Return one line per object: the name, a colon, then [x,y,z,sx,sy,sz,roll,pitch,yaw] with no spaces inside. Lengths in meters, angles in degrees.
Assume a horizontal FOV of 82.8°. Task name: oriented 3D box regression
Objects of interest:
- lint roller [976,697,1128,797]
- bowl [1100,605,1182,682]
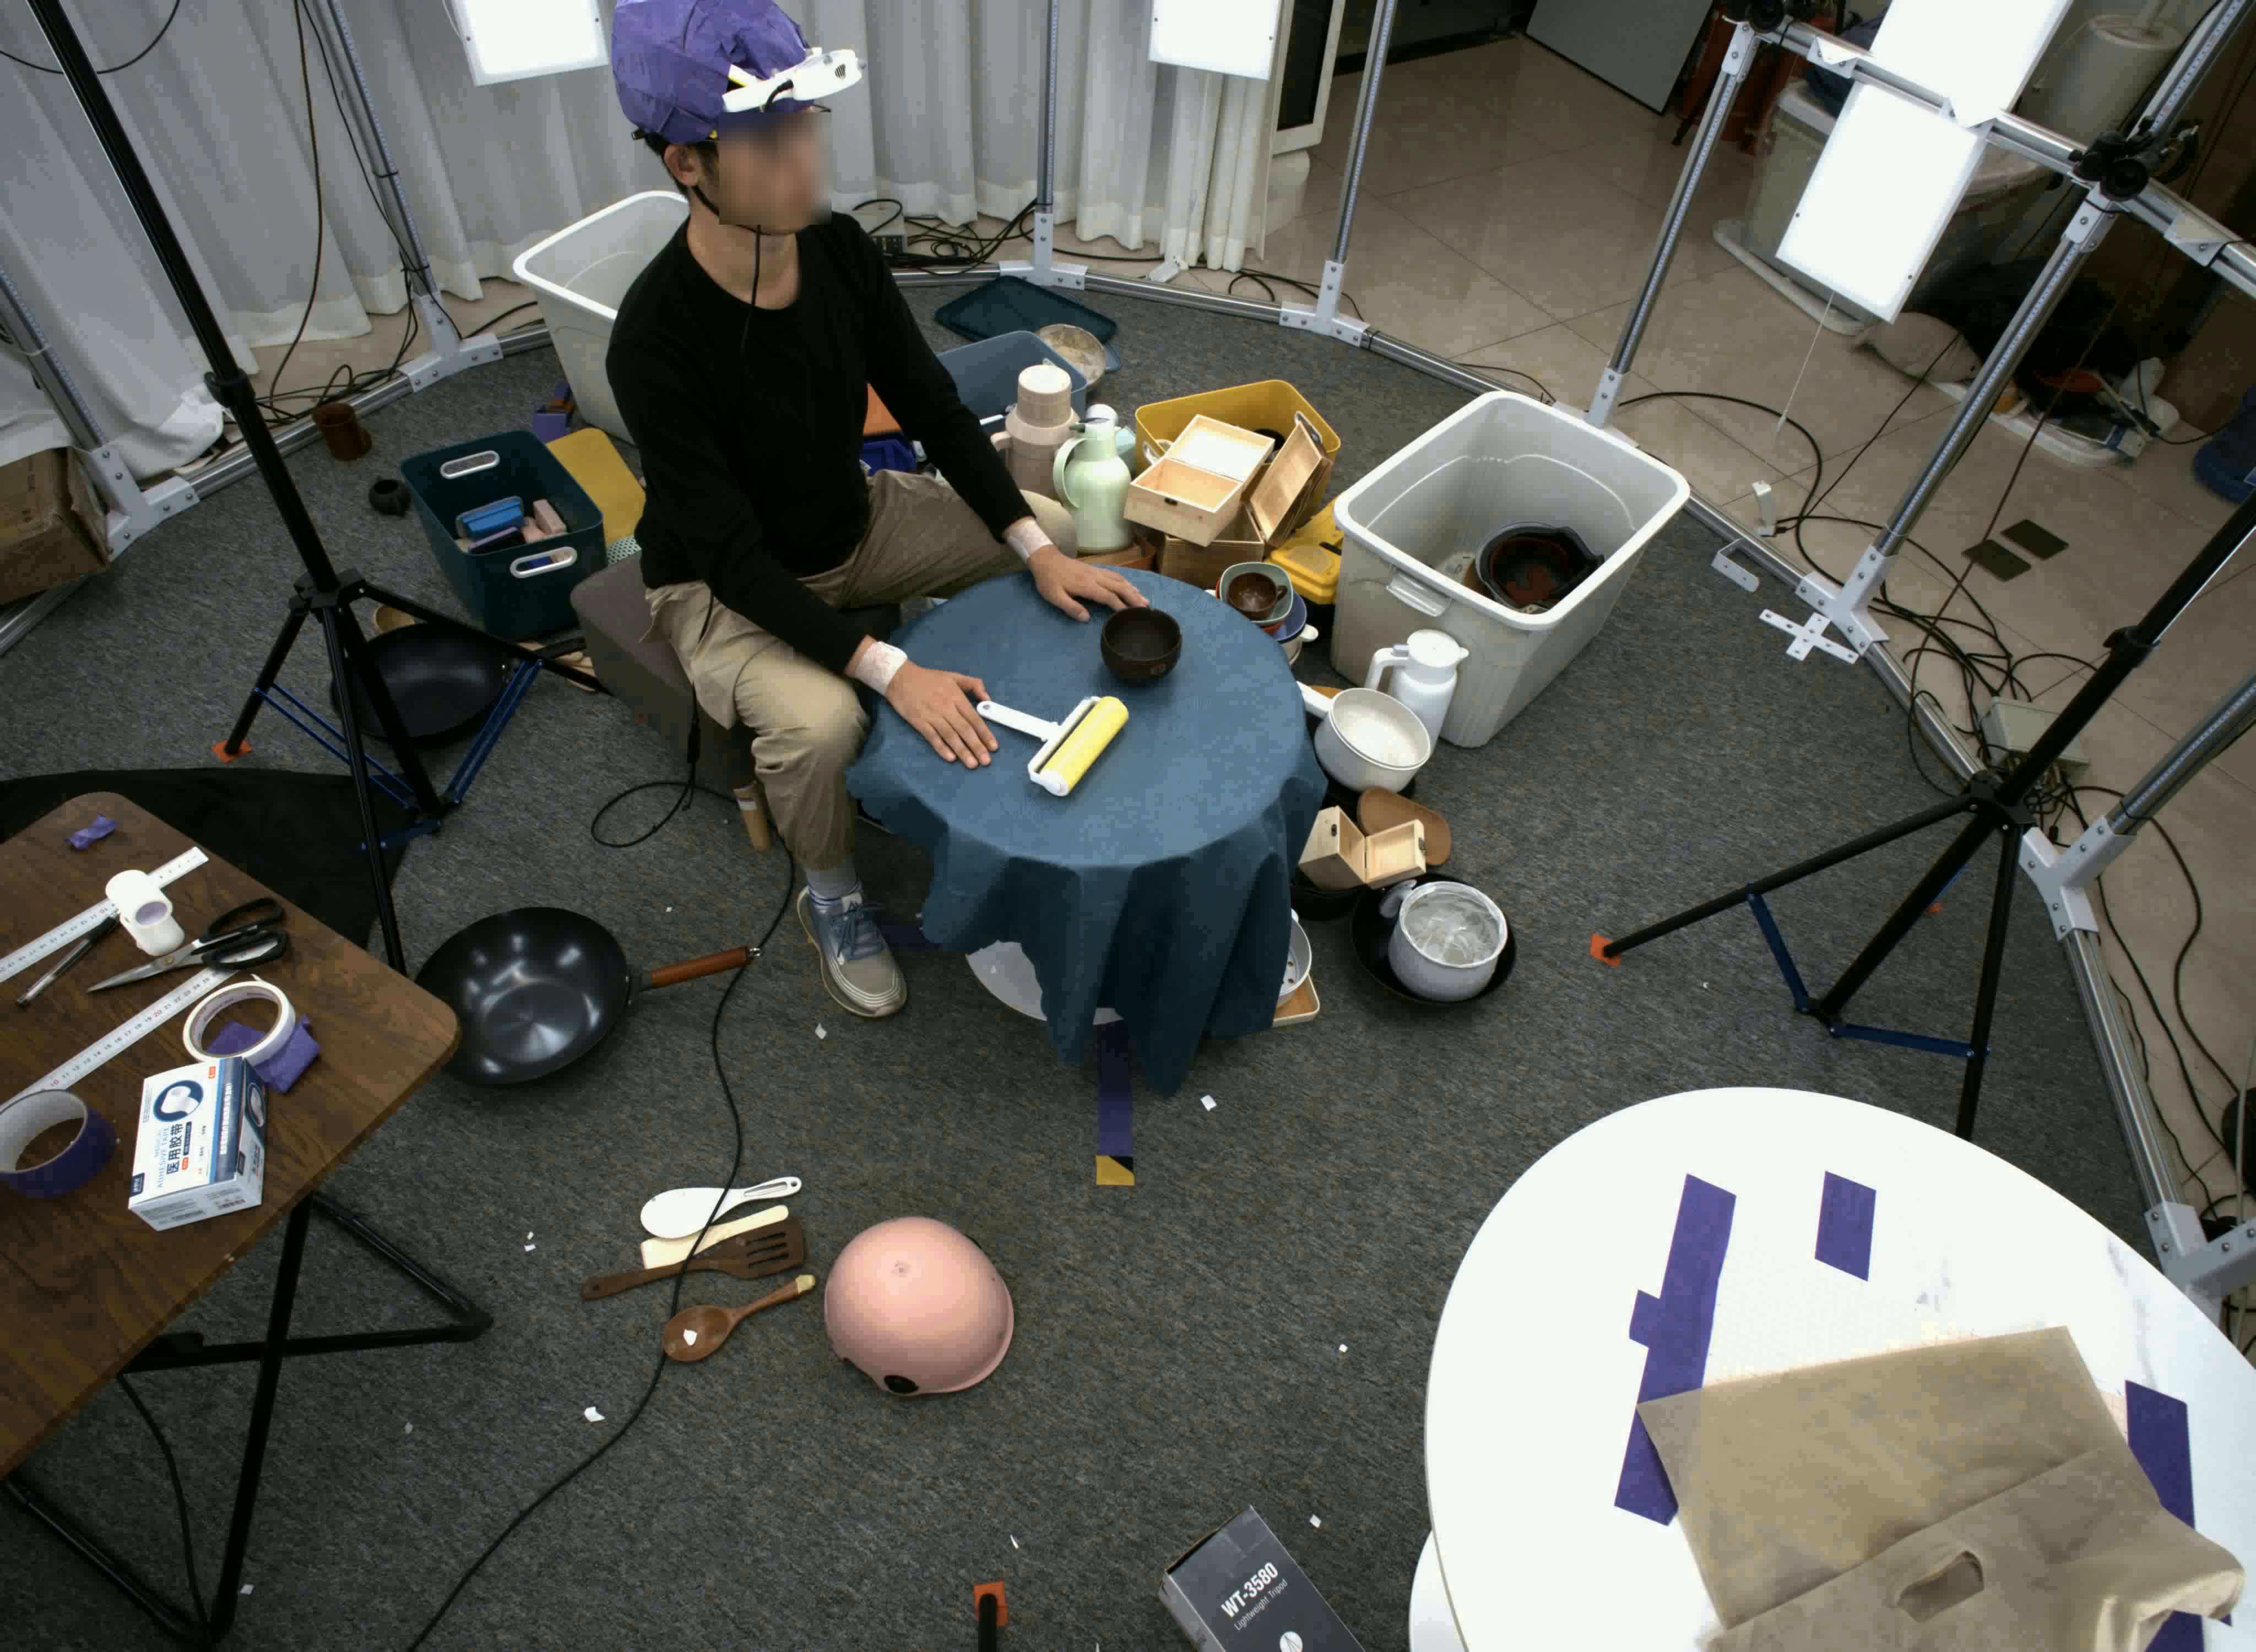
lint roller: [-0.122,-0.137,1.748,0.193,0.050,0.177,26,52,12]
bowl: [0.017,-0.254,1.843,0.118,0.068,0.121,3,49,-3]
